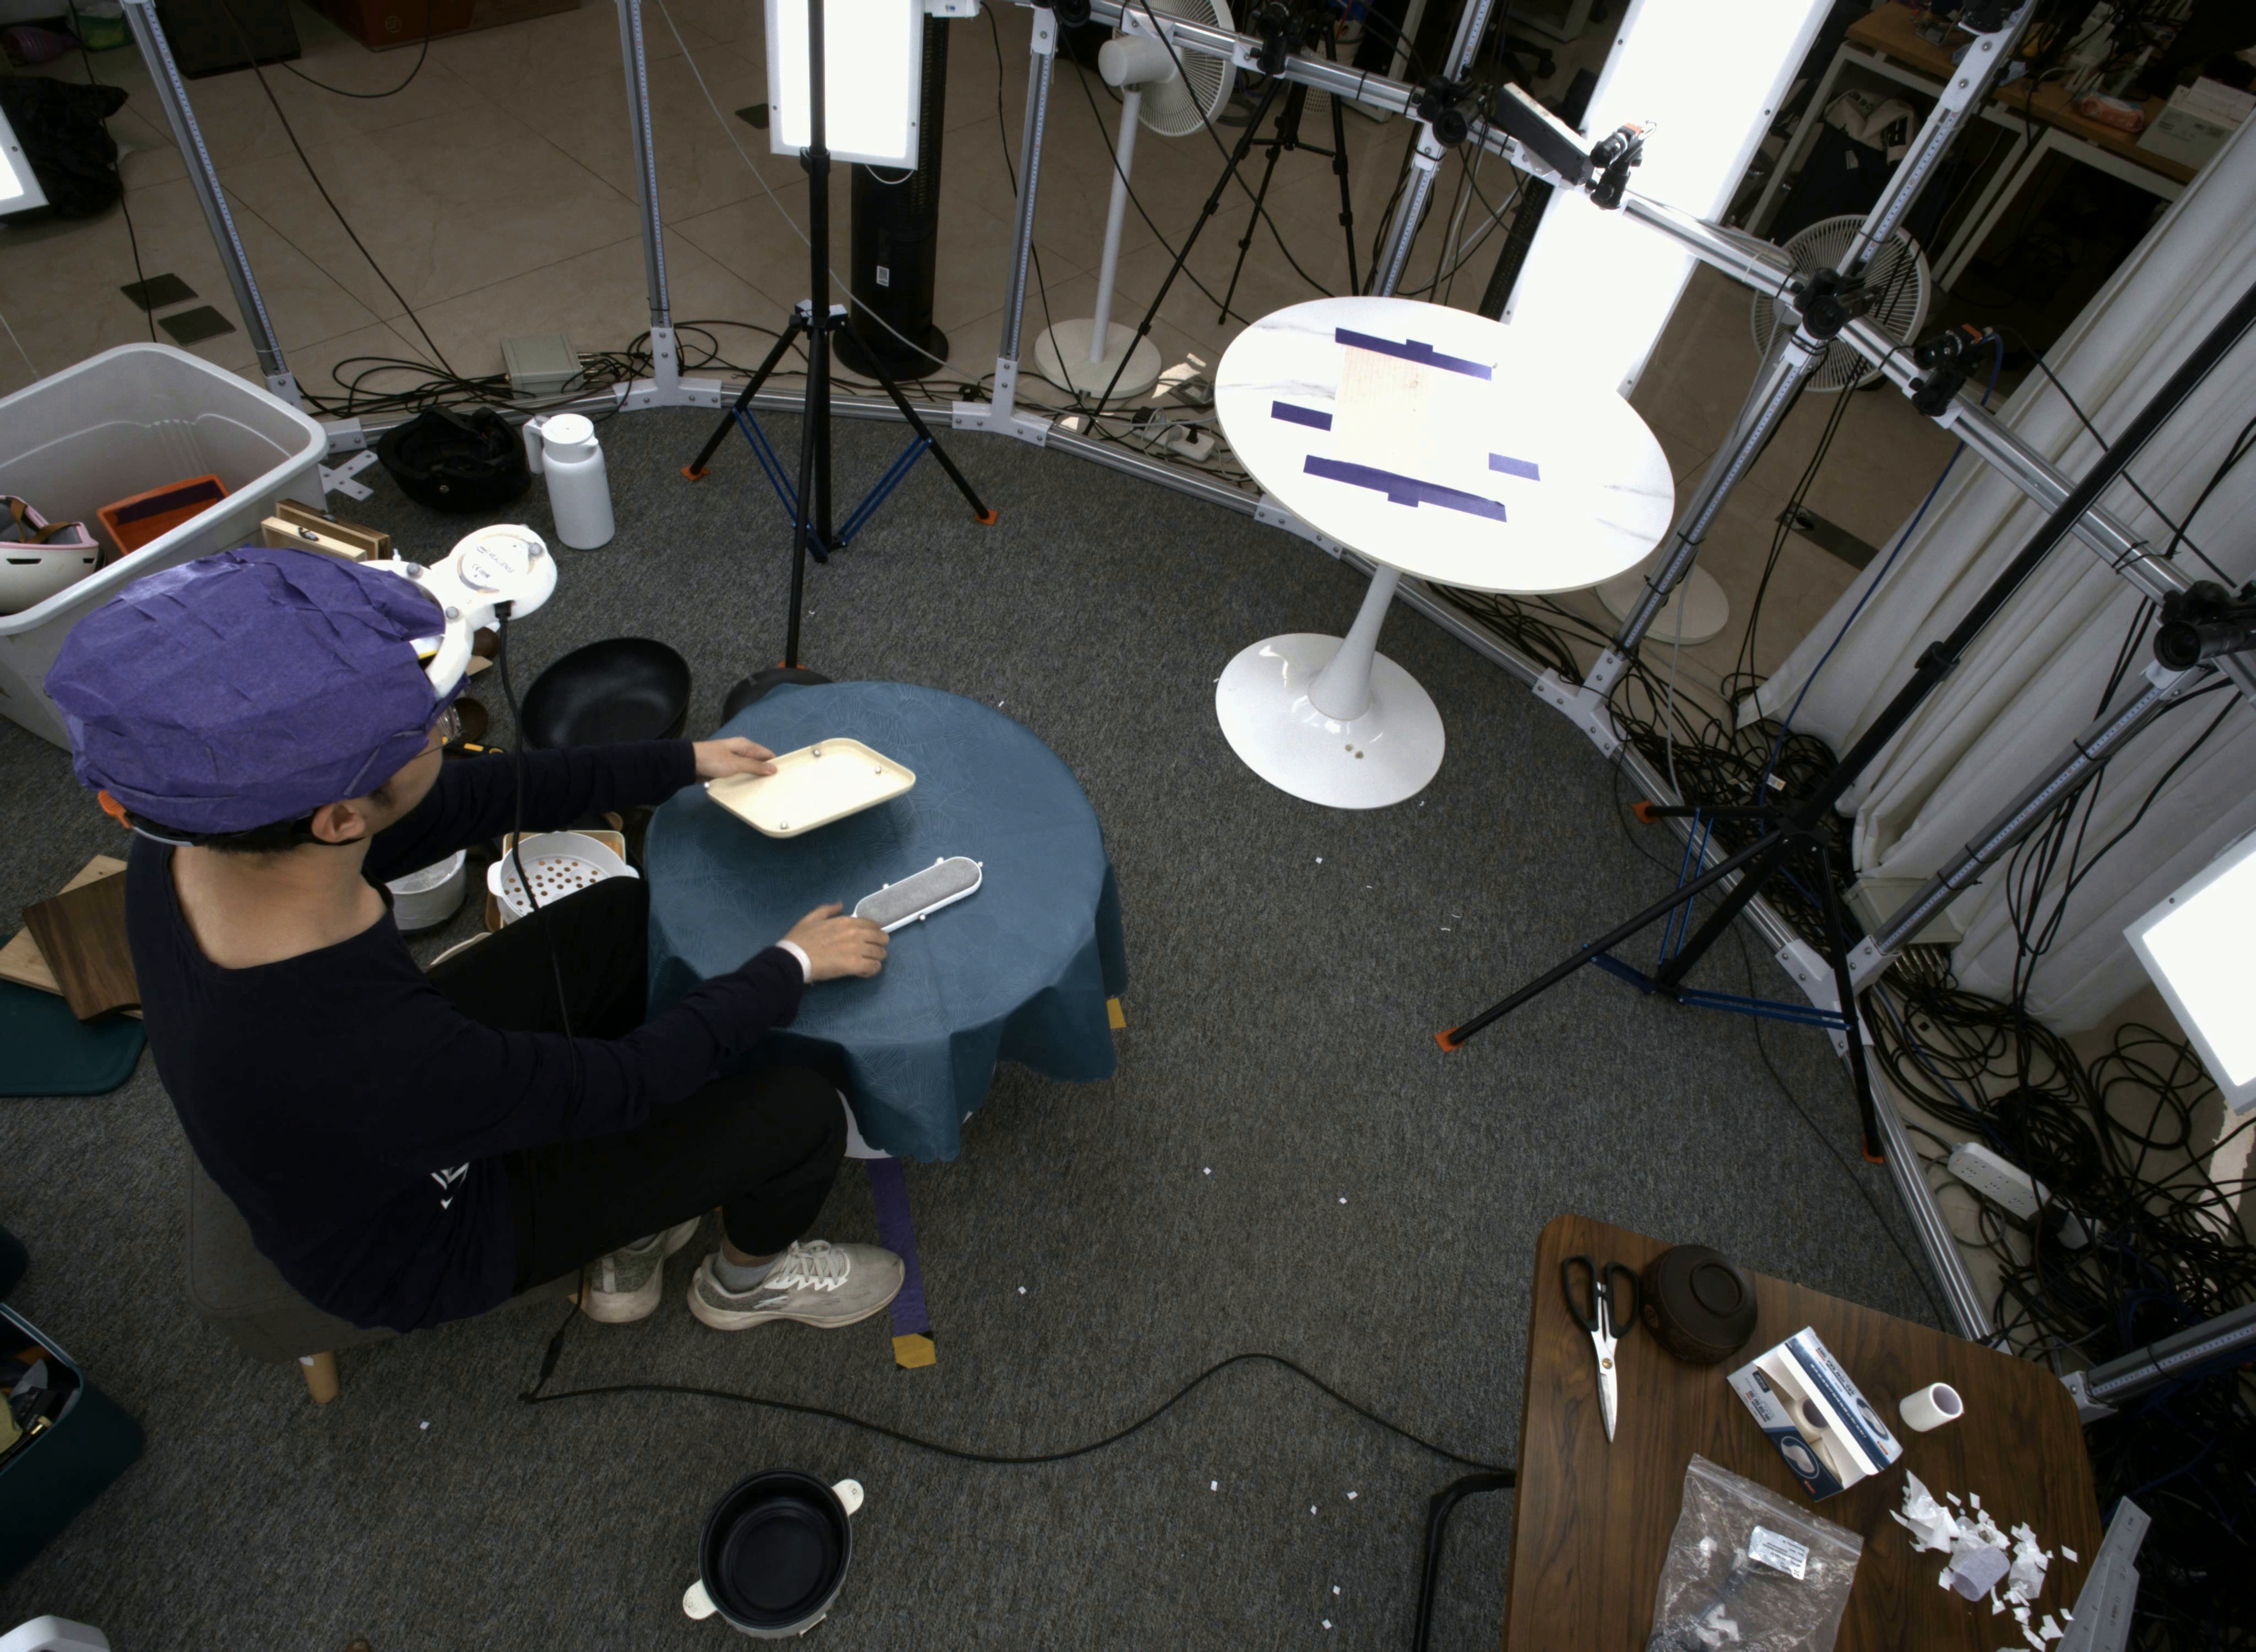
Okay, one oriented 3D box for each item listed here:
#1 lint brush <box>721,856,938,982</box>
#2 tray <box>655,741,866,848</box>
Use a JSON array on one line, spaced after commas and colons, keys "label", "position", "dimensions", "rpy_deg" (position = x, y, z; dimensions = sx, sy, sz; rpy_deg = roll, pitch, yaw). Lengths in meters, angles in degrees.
[{"label": "lint brush", "position": [-0.375, 0.115, 1.644], "dimensions": [0.310, 0.021, 0.059], "rpy_deg": [-28, 71, -30]}, {"label": "tray", "position": [-0.470, -0.043, 1.664], "dimensions": [0.165, 0.018, 0.241], "rpy_deg": [27, 35, 28]}]
